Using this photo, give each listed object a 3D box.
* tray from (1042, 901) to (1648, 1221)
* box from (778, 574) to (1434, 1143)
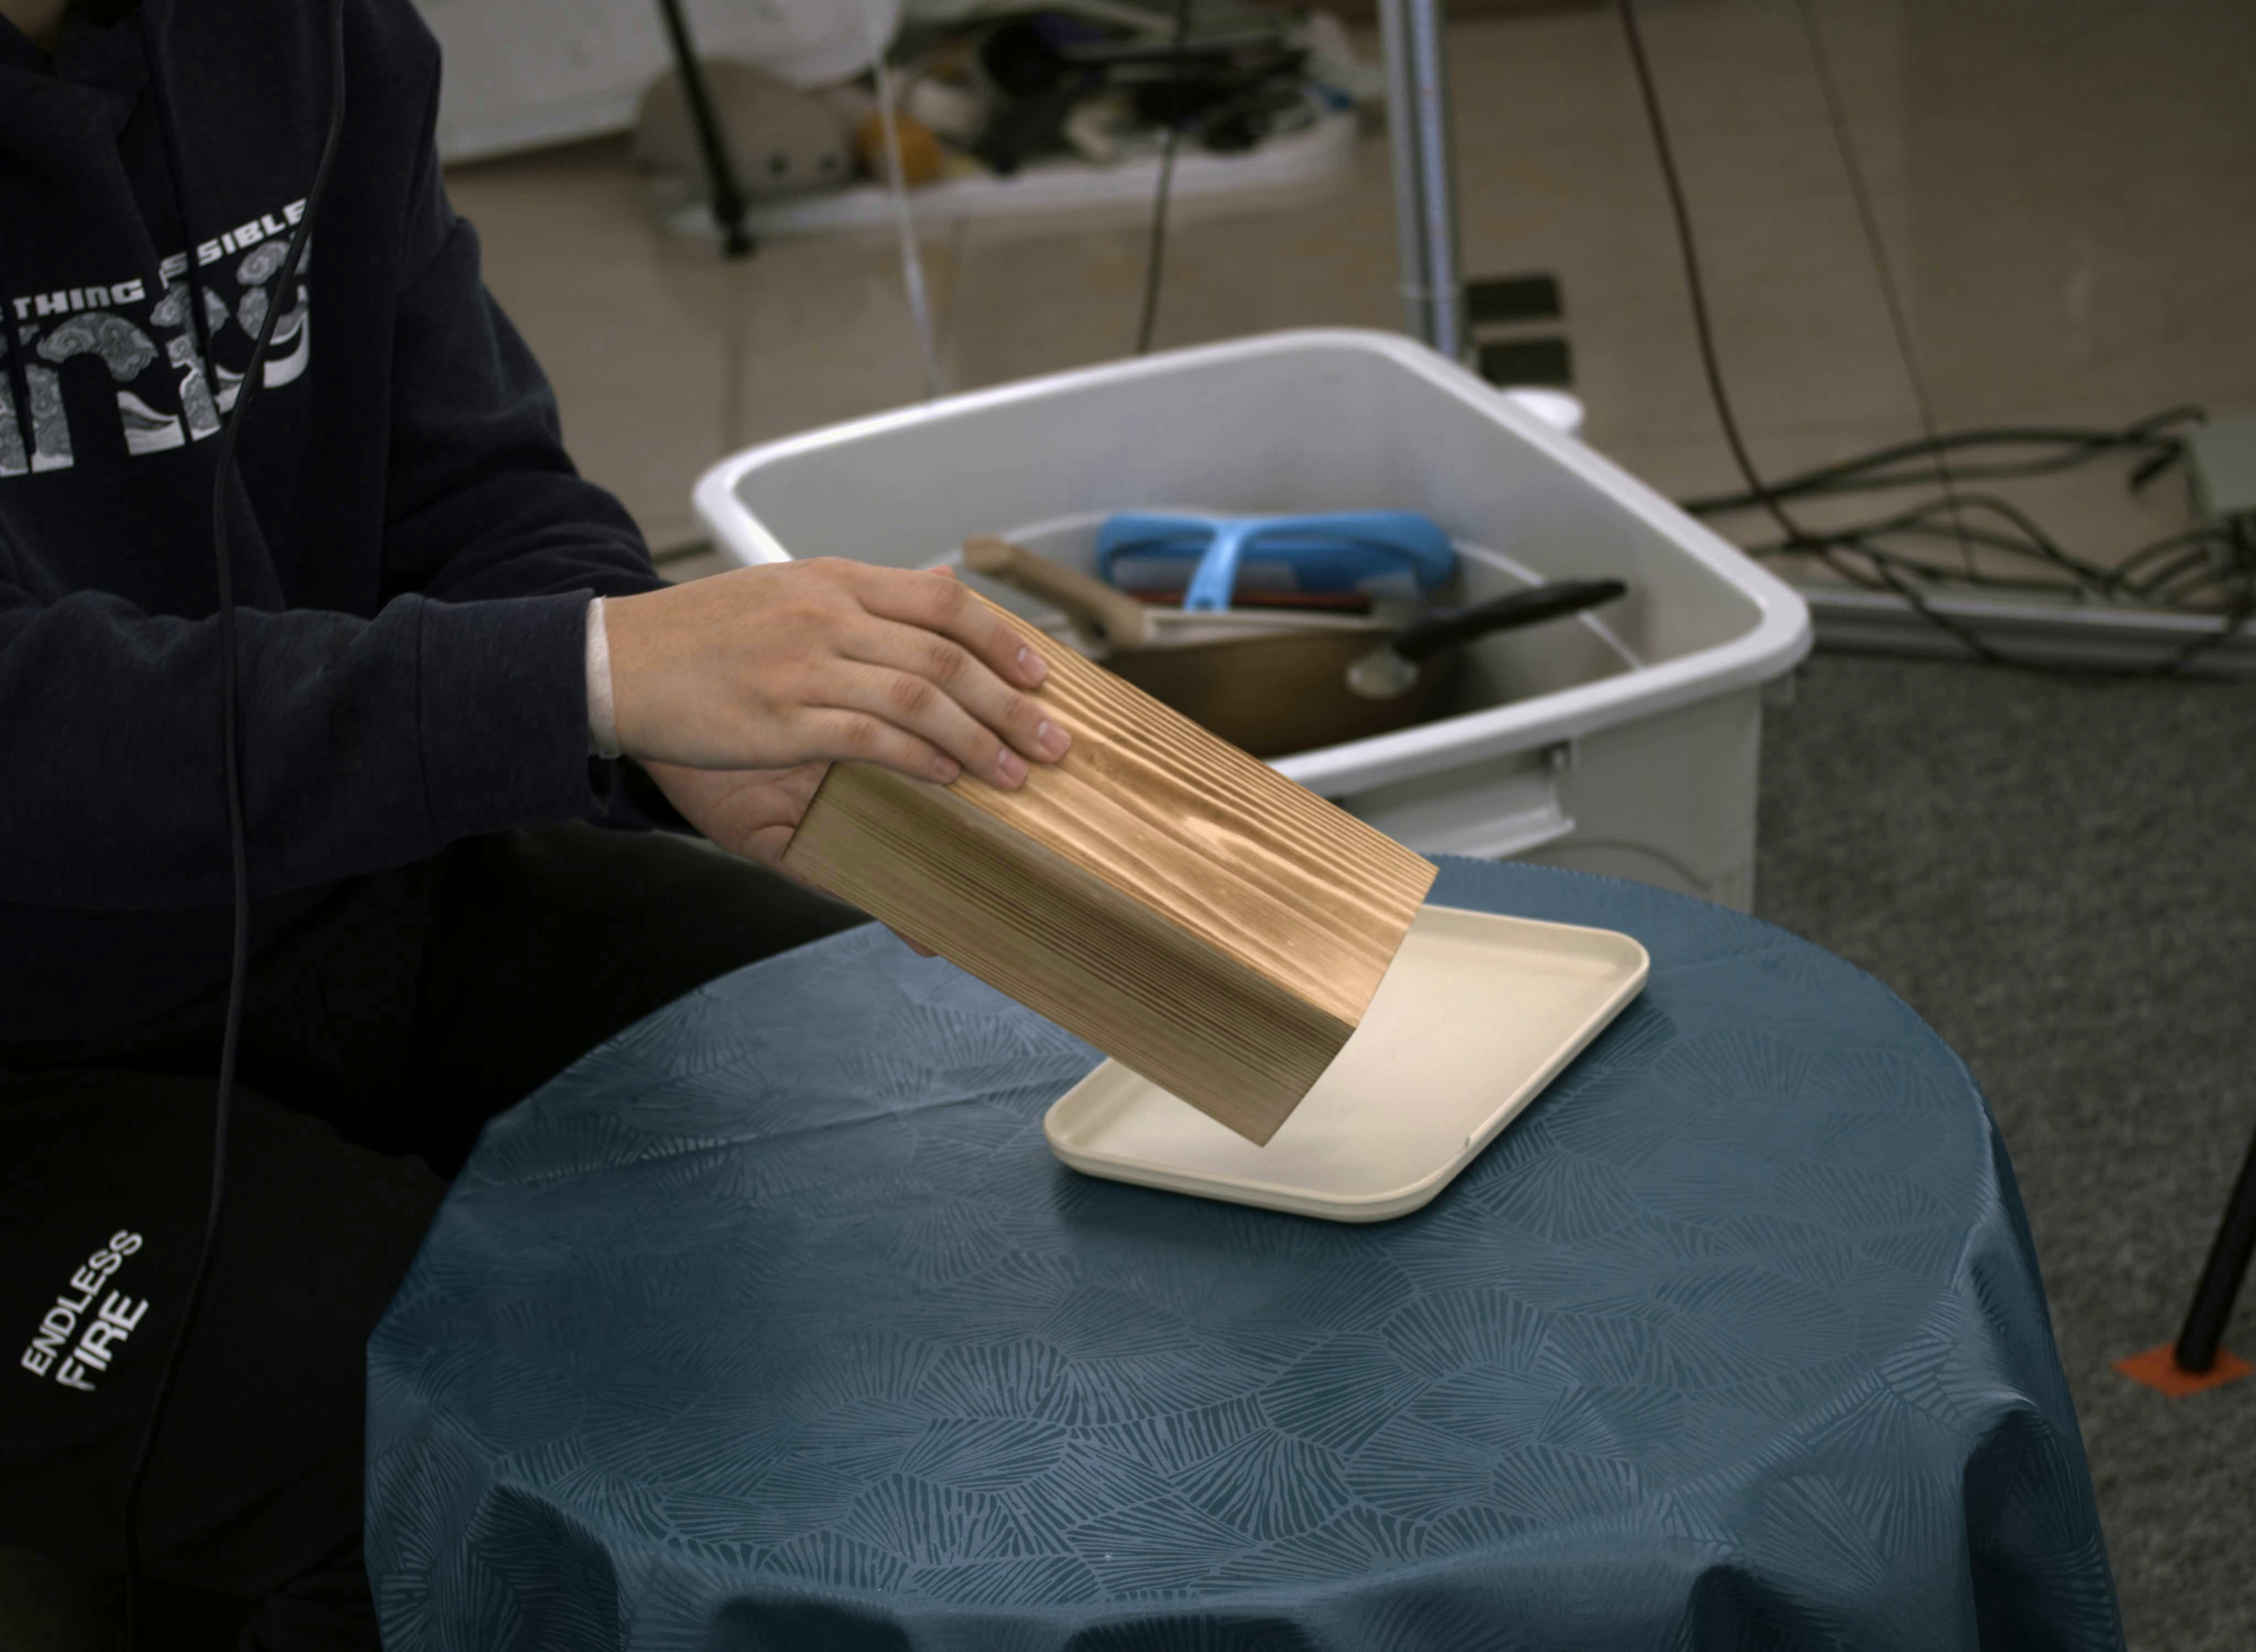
[{"bbox_3d":[0.087,0.090,2.214,0.170,0.018,0.237,8,28,30],"label":"tray"},{"bbox_3d":[-0.010,0.013,2.079,0.211,0.109,0.079,31,59,-3],"label":"box"}]
